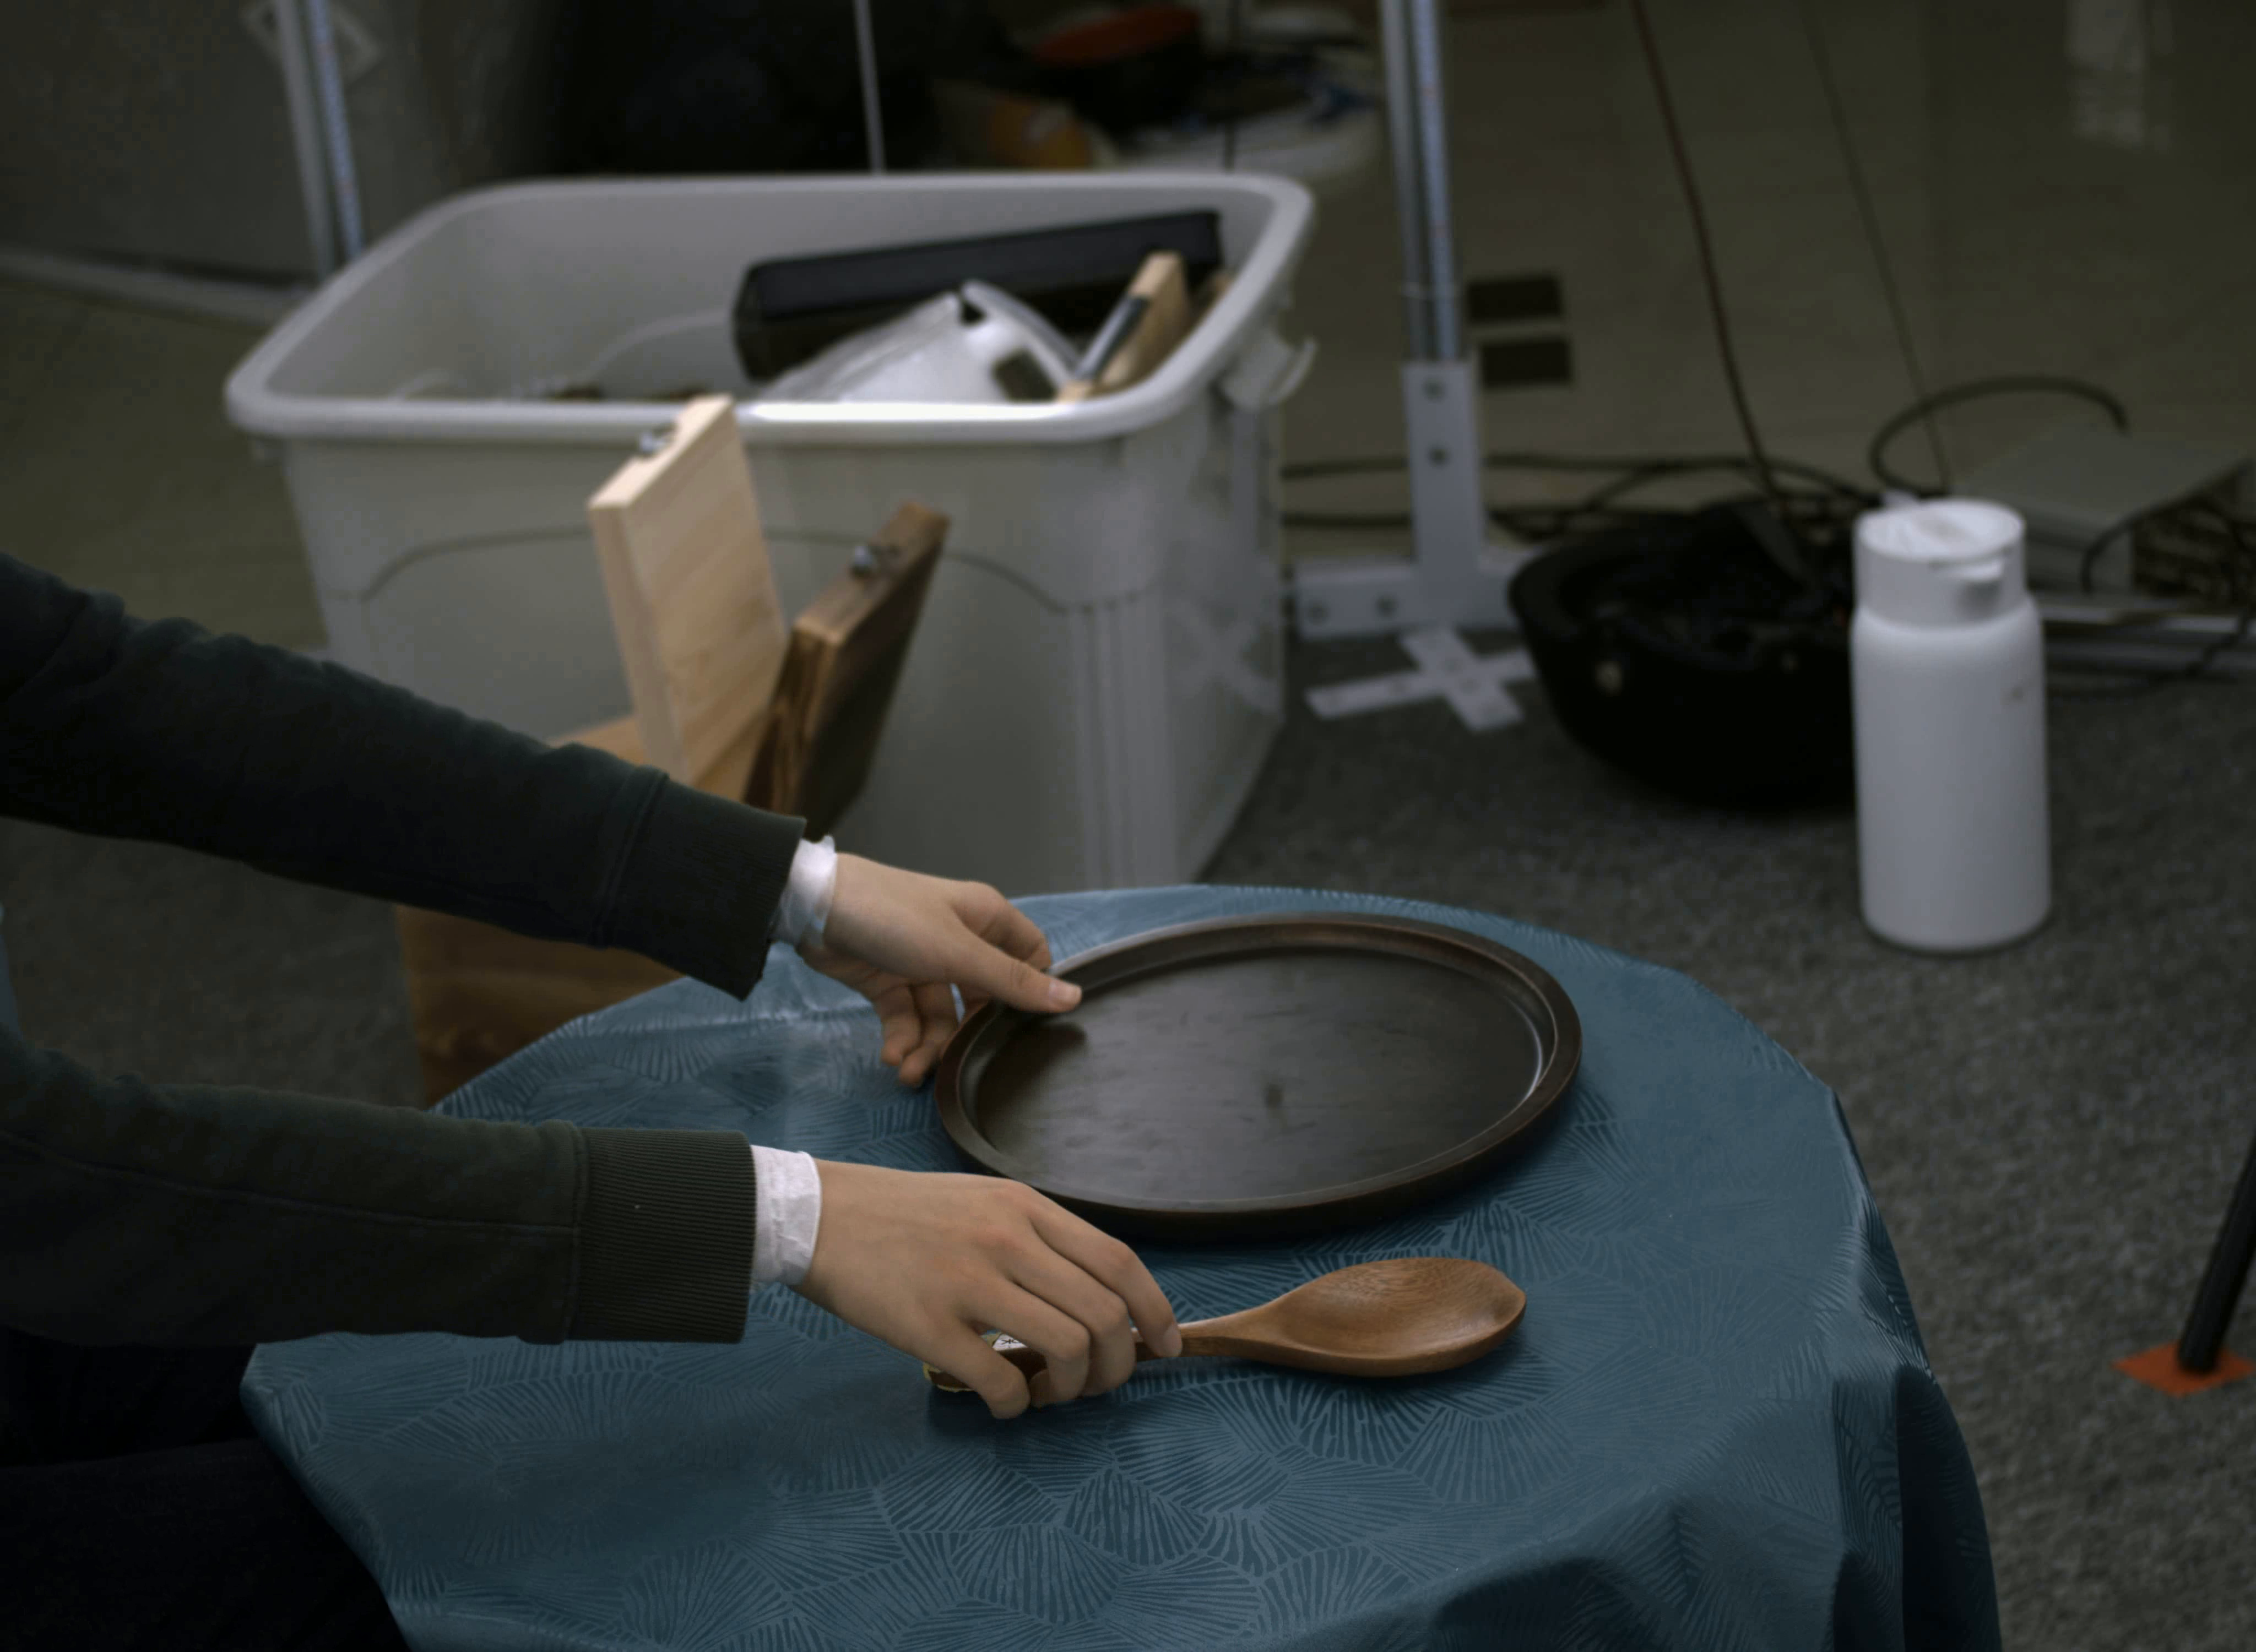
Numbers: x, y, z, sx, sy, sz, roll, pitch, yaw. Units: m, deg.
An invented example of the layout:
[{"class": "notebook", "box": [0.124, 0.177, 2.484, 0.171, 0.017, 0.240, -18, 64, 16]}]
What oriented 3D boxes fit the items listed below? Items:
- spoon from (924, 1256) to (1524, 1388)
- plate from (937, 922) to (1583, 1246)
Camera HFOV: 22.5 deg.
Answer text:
[{"class": "spoon", "box": [0.034, 0.183, 2.029, 0.215, 0.017, 0.074, -5, 25, 2]}, {"class": "plate", "box": [0.051, 0.098, 2.202, 0.254, 0.029, 0.251, -5, 24, 2]}]
